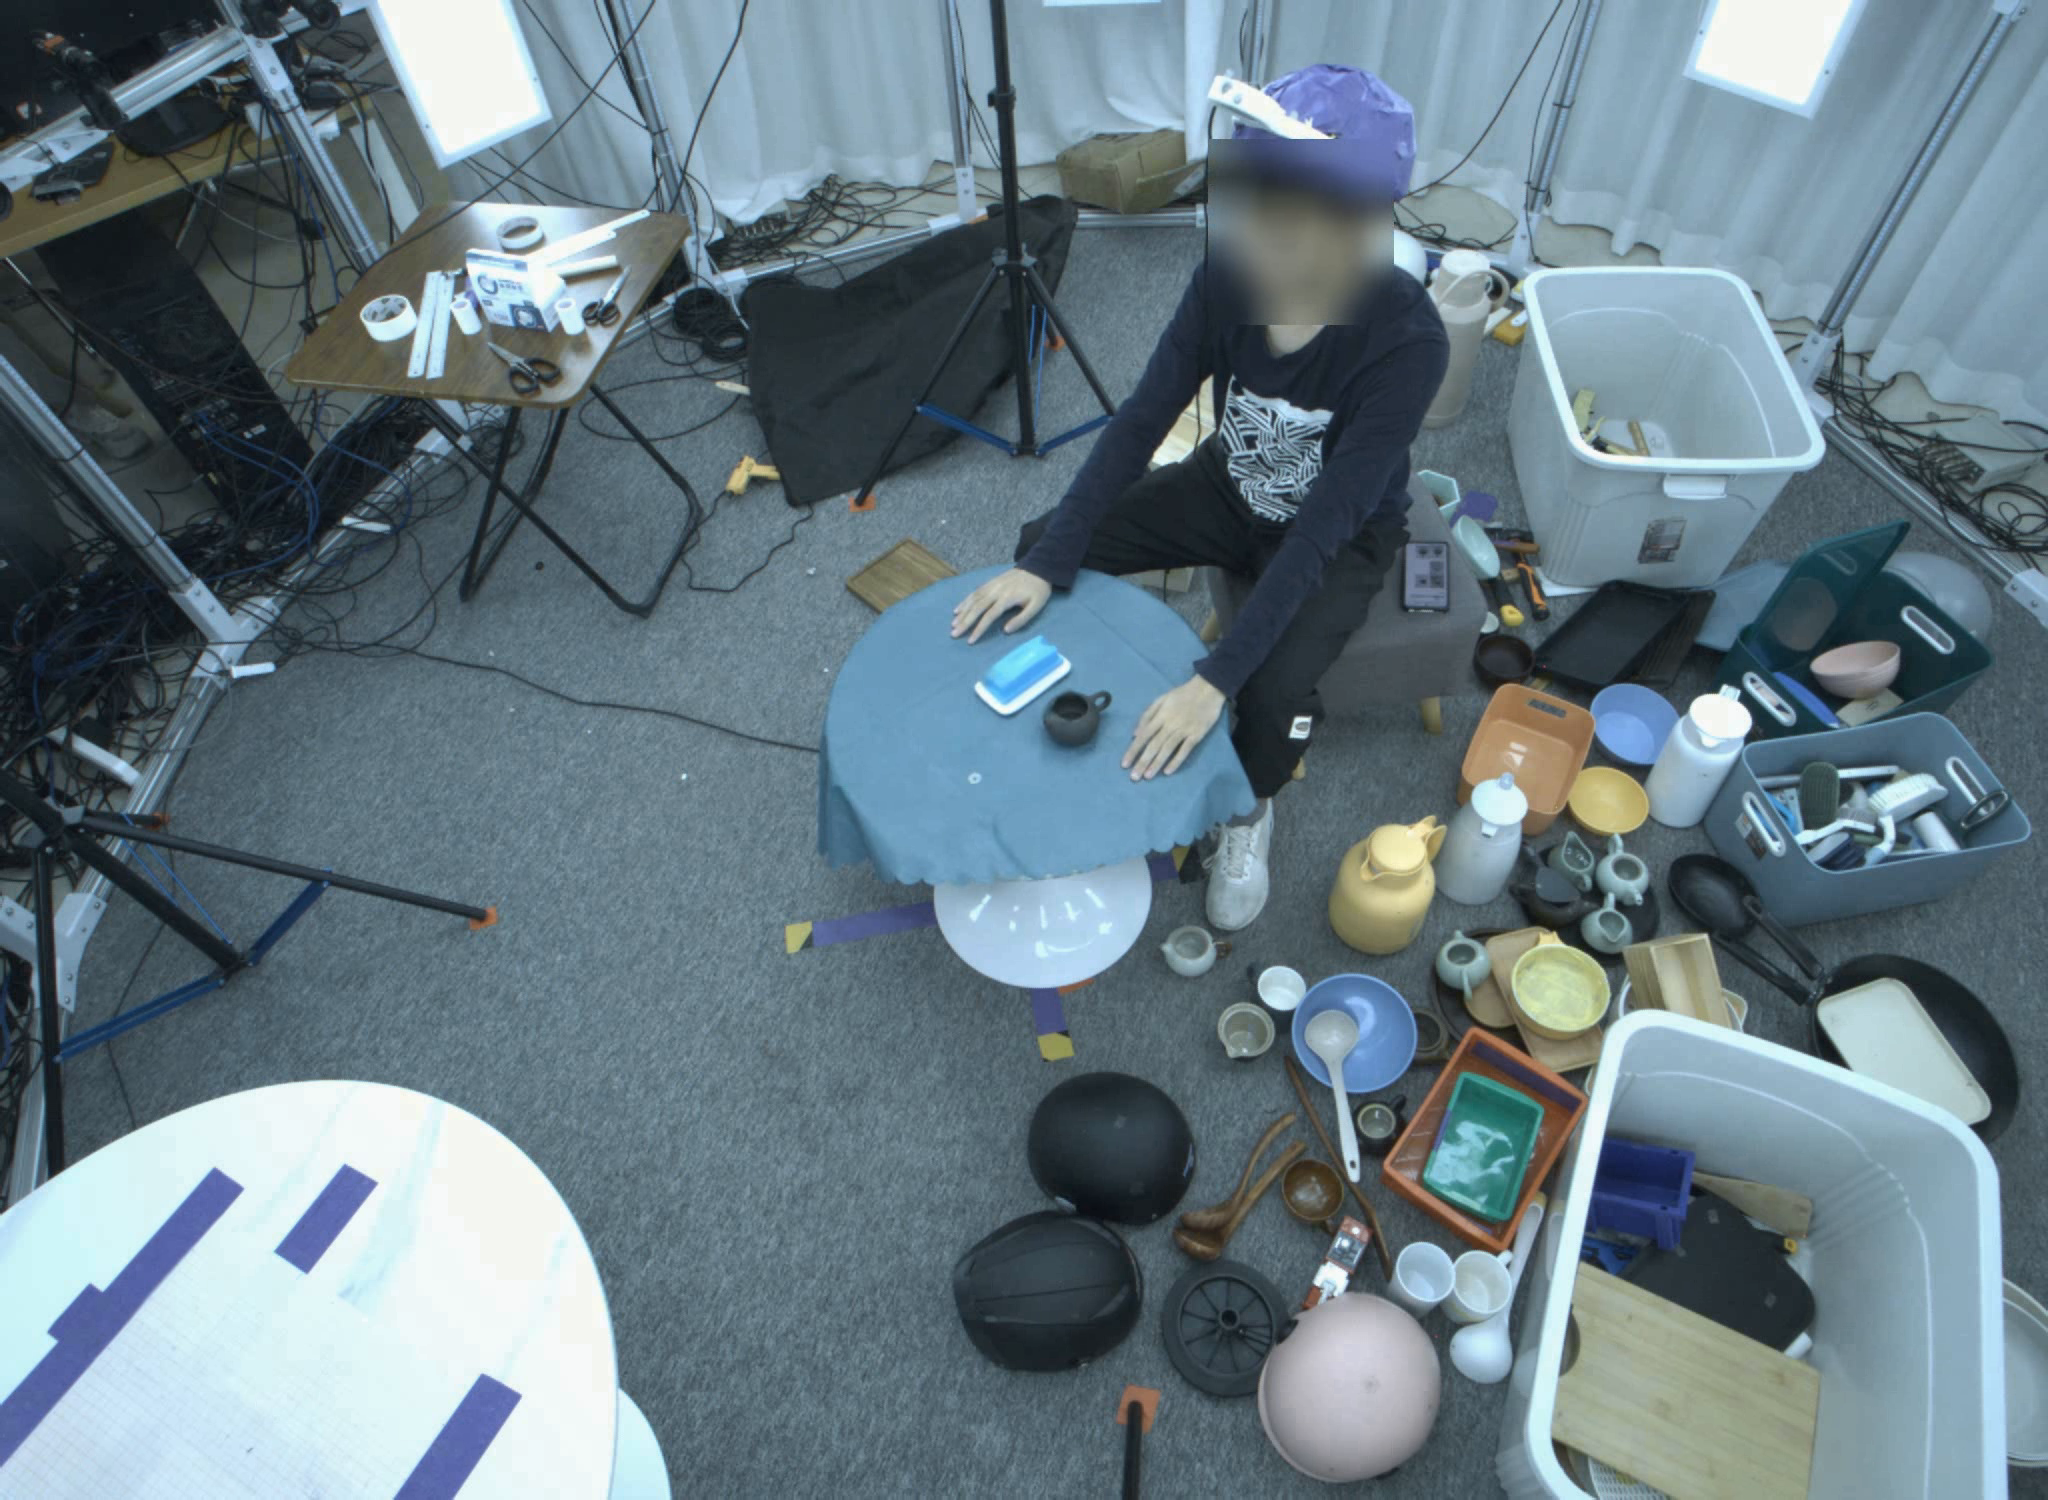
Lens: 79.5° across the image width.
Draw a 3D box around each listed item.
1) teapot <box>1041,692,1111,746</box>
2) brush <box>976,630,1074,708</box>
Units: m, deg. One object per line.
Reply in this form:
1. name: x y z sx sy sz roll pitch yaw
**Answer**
1. teapot: 0.077 -0.051 1.783 0.115 0.053 0.081 -26 61 -13
2. brush: 0.001 -0.128 1.834 0.145 0.056 0.082 -36 64 -19
